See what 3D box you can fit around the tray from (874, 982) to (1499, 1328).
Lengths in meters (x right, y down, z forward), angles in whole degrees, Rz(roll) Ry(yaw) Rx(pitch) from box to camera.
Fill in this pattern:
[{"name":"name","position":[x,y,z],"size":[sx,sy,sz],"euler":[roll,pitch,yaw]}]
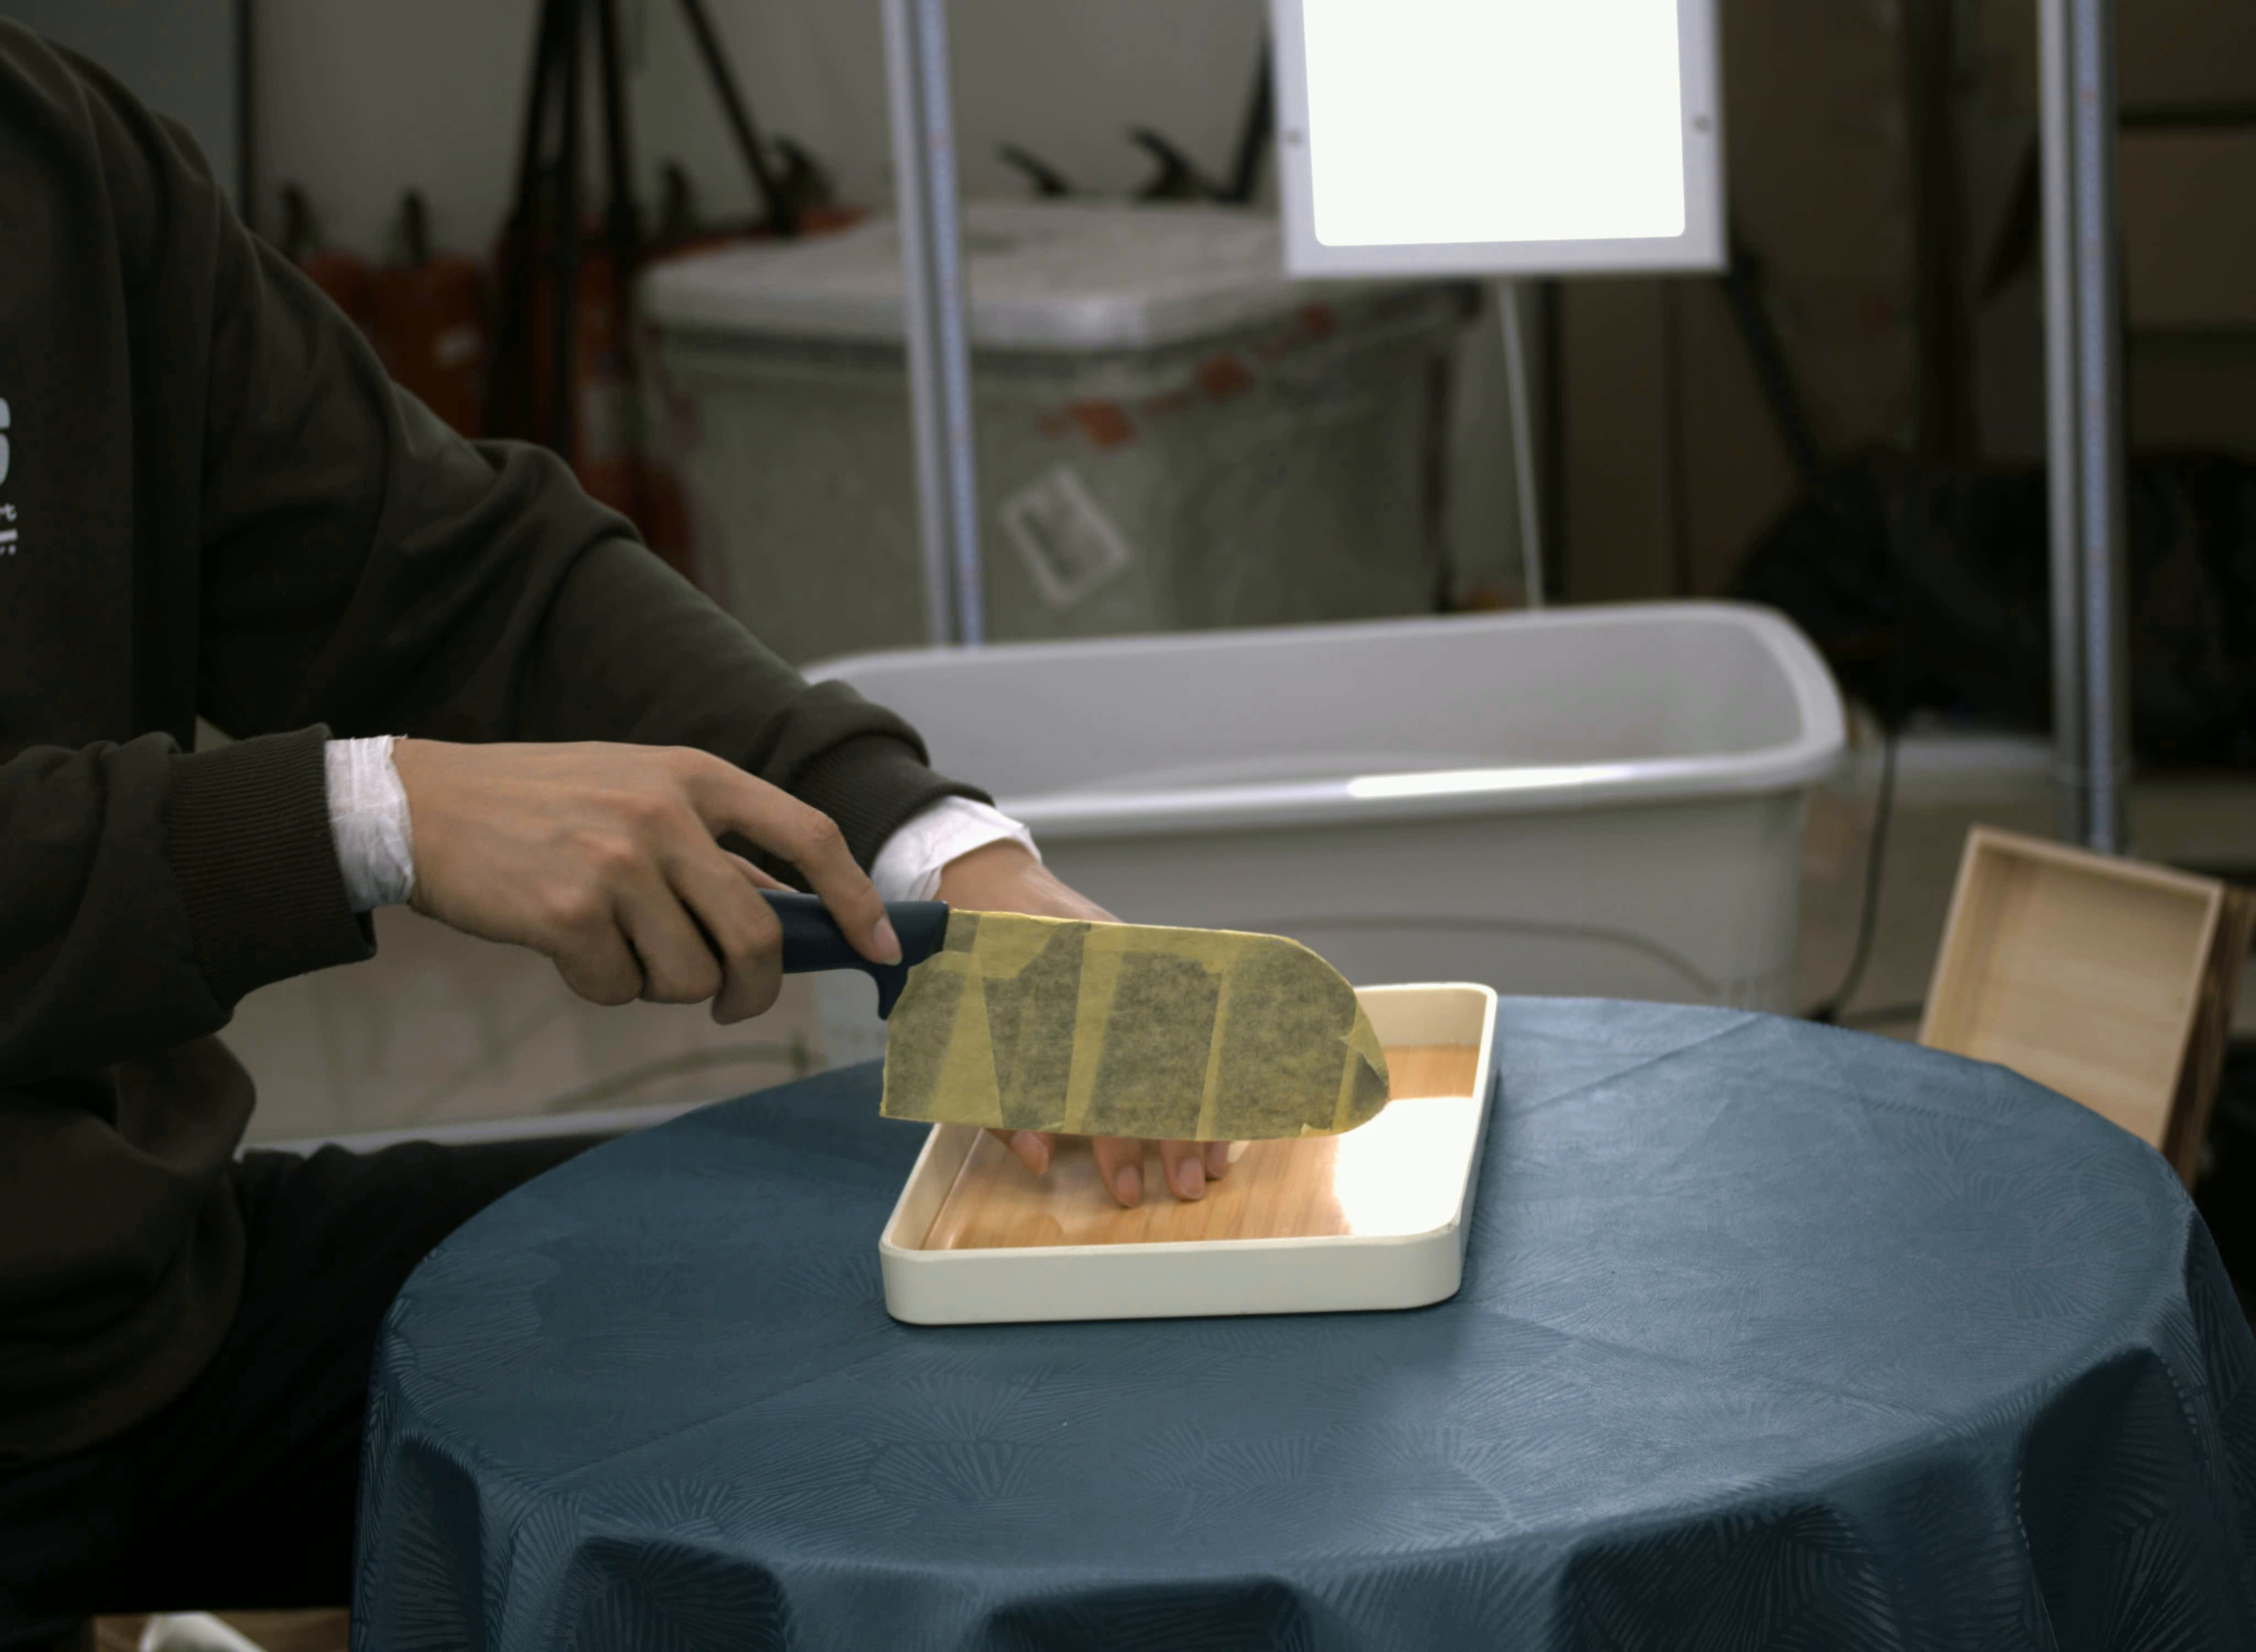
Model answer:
[{"name":"tray","position":[0.027,0.110,1.904],"size":[0.192,0.027,0.297],"euler":[-4,13,9]}]

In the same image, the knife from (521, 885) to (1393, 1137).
[{"name":"knife","position":[-0.053,0.059,1.767],"size":[0.287,0.081,0.027],"euler":[8,11,-8]}]
